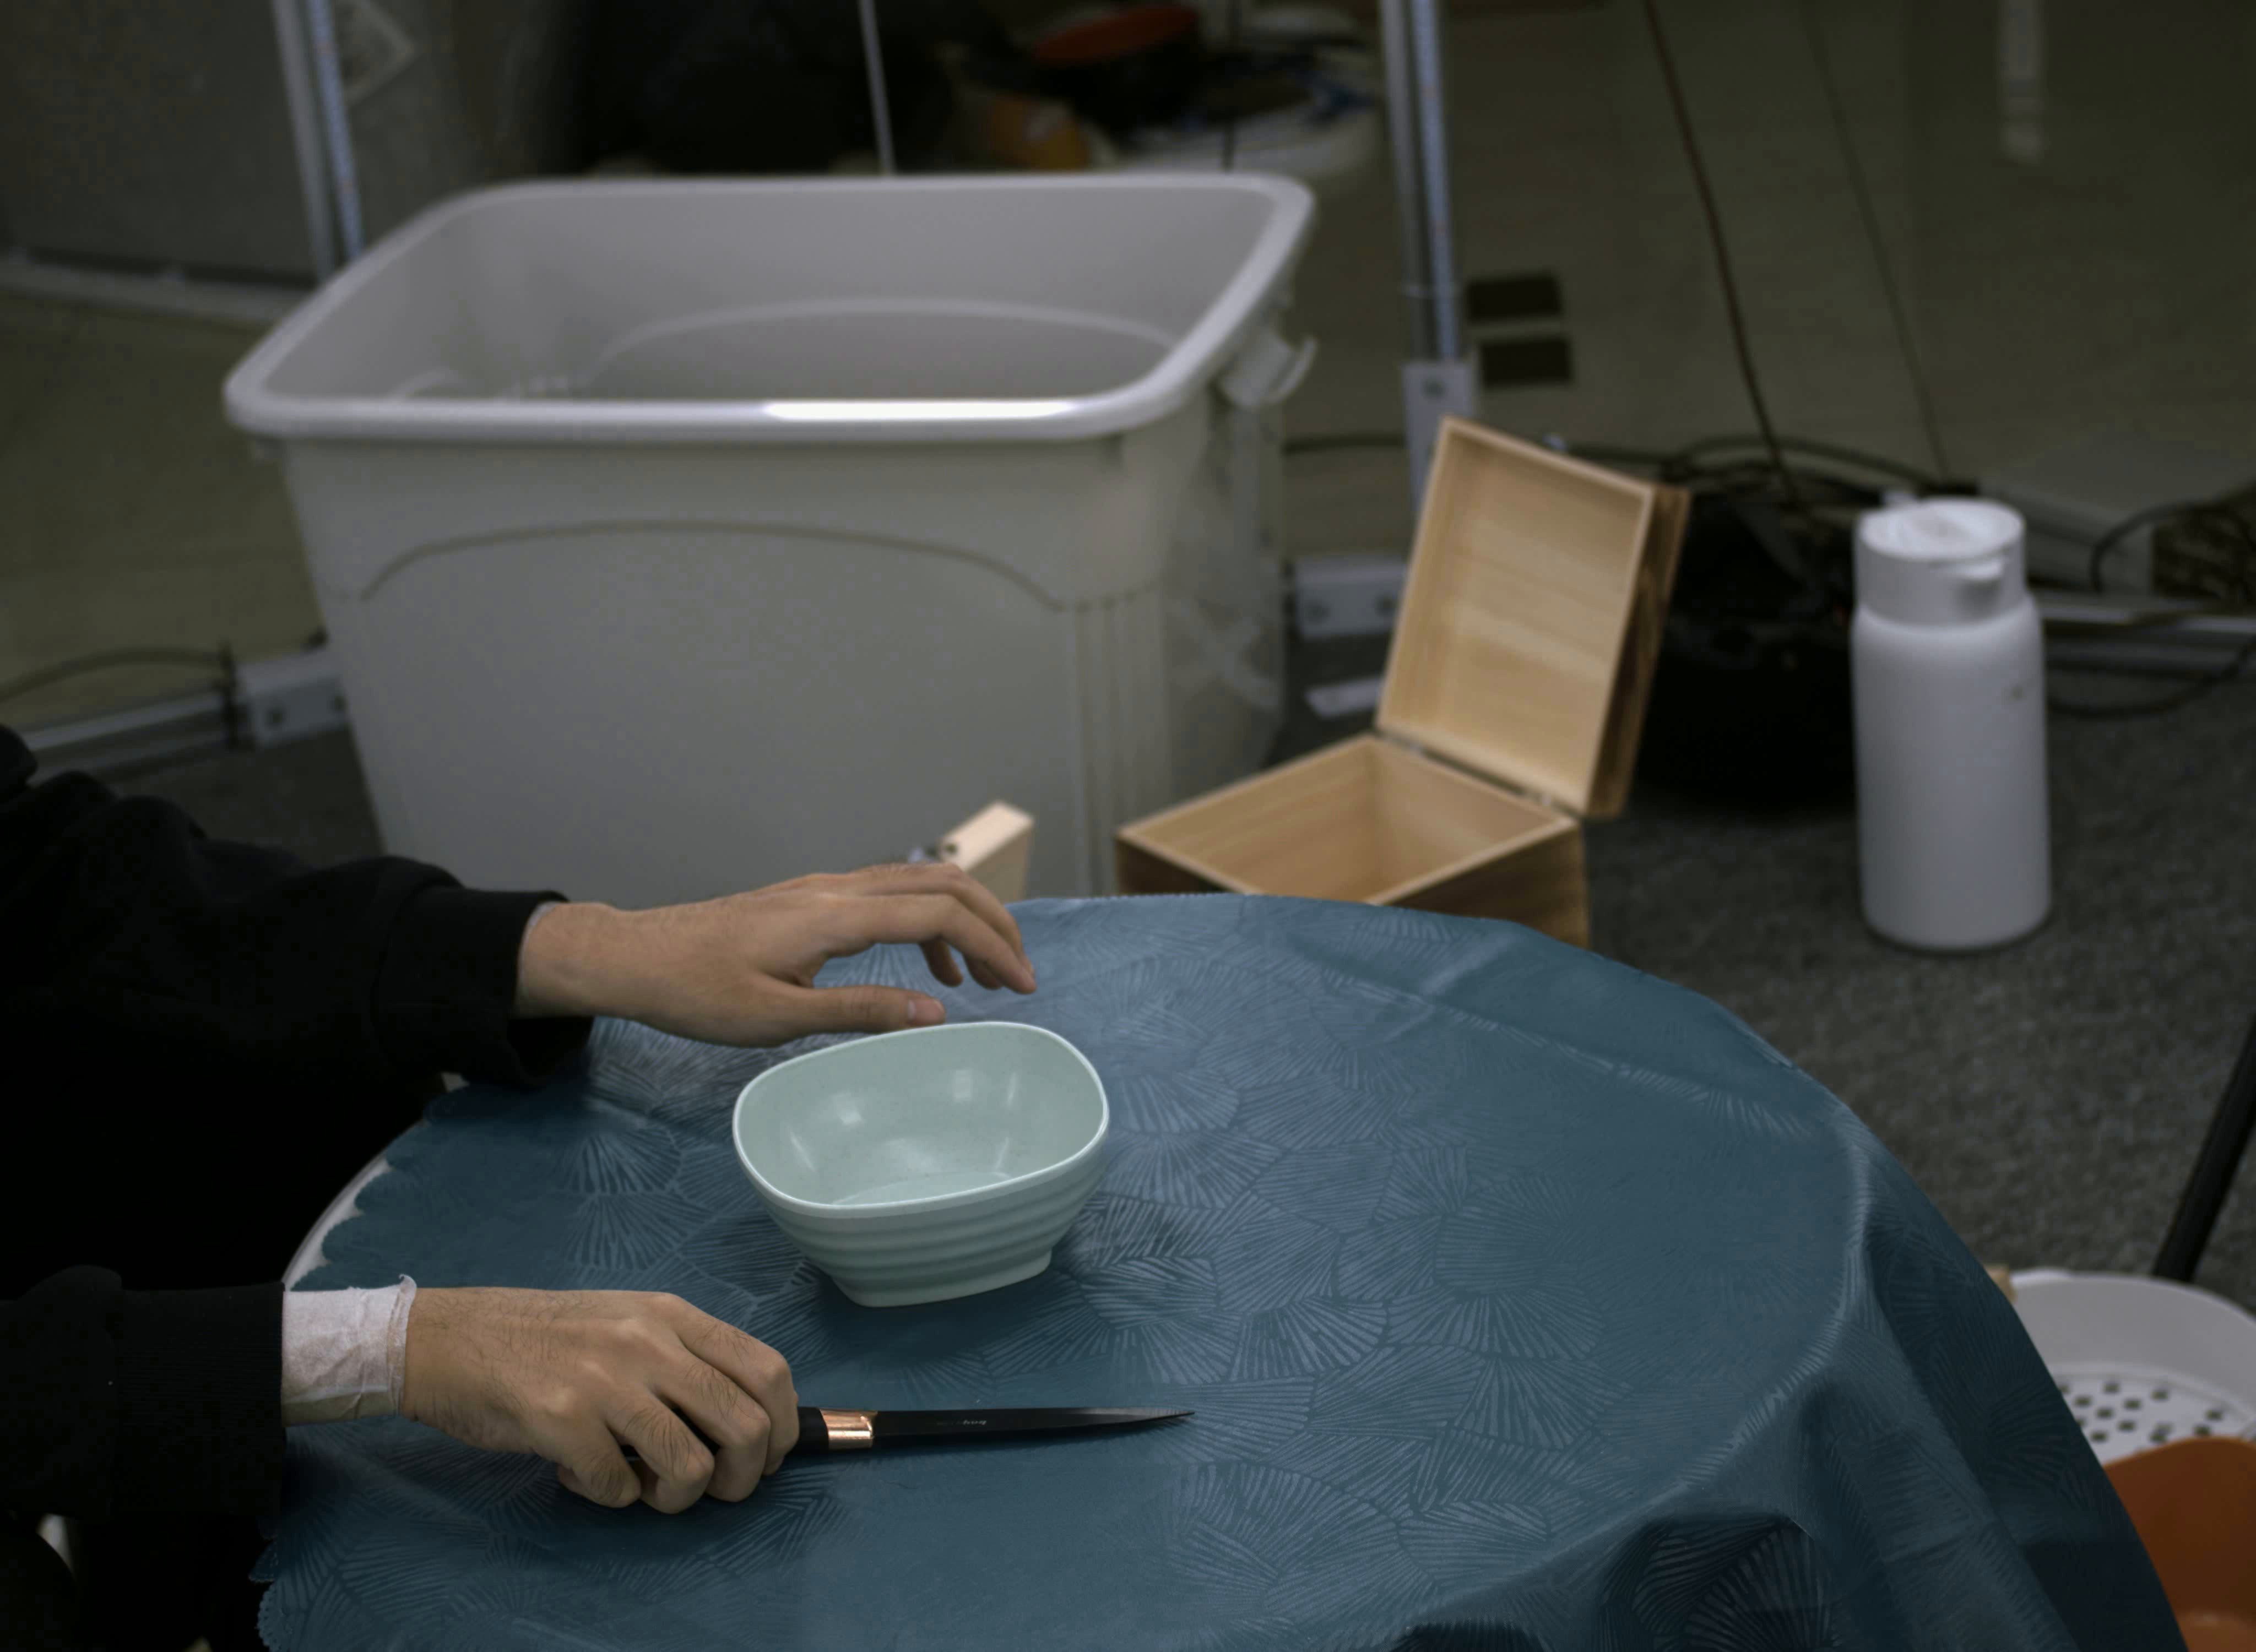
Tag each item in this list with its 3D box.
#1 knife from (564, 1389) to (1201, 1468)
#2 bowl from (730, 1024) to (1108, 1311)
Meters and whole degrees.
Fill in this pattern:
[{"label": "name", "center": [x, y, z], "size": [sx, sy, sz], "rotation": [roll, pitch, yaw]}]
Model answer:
[{"label": "knife", "center": [-0.086, 0.211, 2.002], "size": [0.225, 0.017, 0.026], "rotation": [-4, 14, 2]}, {"label": "bowl", "center": [-0.075, 0.133, 2.113], "size": [0.151, 0.059, 0.149], "rotation": [-5, 26, 2]}]
